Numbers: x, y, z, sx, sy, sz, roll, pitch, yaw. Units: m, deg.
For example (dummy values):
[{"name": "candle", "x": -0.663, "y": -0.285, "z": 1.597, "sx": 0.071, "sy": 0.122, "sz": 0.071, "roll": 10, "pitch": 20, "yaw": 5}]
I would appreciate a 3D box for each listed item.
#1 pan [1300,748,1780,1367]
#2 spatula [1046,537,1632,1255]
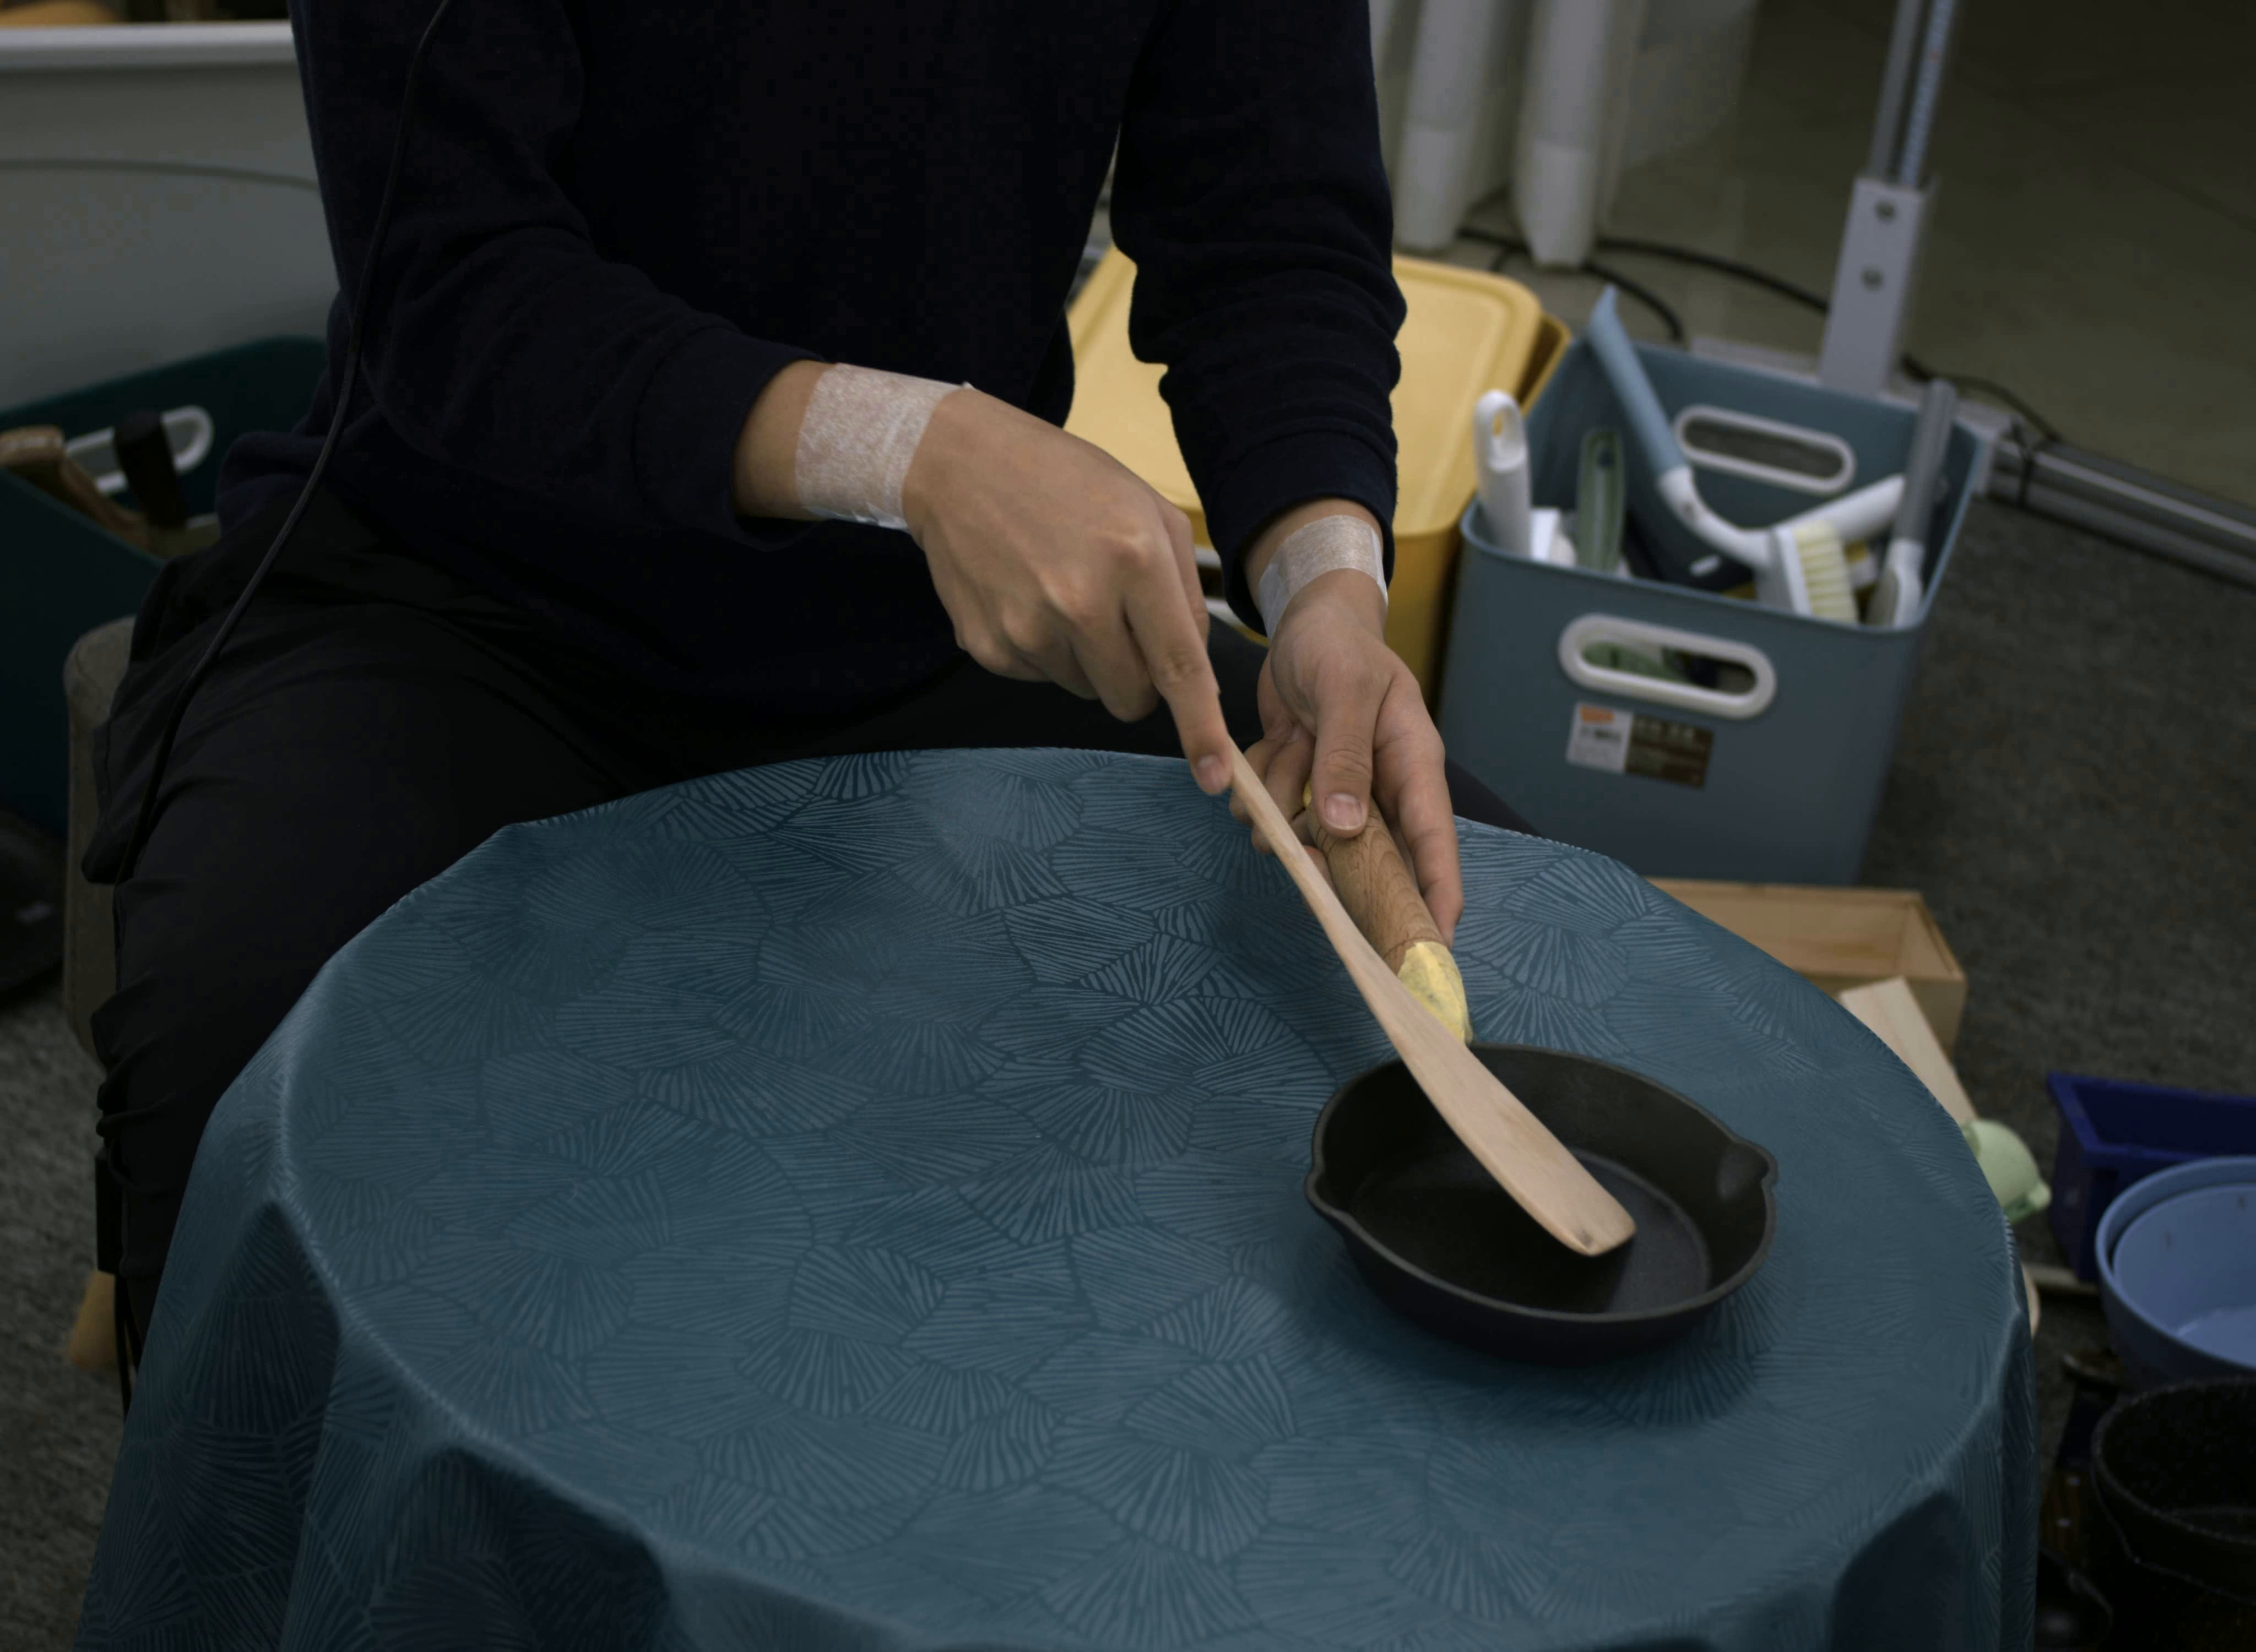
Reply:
[{"name": "pan", "x": 0.115, "y": 0.077, "z": 1.840, "sx": 0.168, "sy": 0.049, "sz": 0.327, "roll": -2, "pitch": 34, "yaw": -16}, {"name": "spatula", "x": 0.069, "y": 0.022, "z": 1.823, "sx": 0.330, "sy": 0.016, "sz": 0.079, "roll": 54, "pitch": 18, "yaw": 20}]
